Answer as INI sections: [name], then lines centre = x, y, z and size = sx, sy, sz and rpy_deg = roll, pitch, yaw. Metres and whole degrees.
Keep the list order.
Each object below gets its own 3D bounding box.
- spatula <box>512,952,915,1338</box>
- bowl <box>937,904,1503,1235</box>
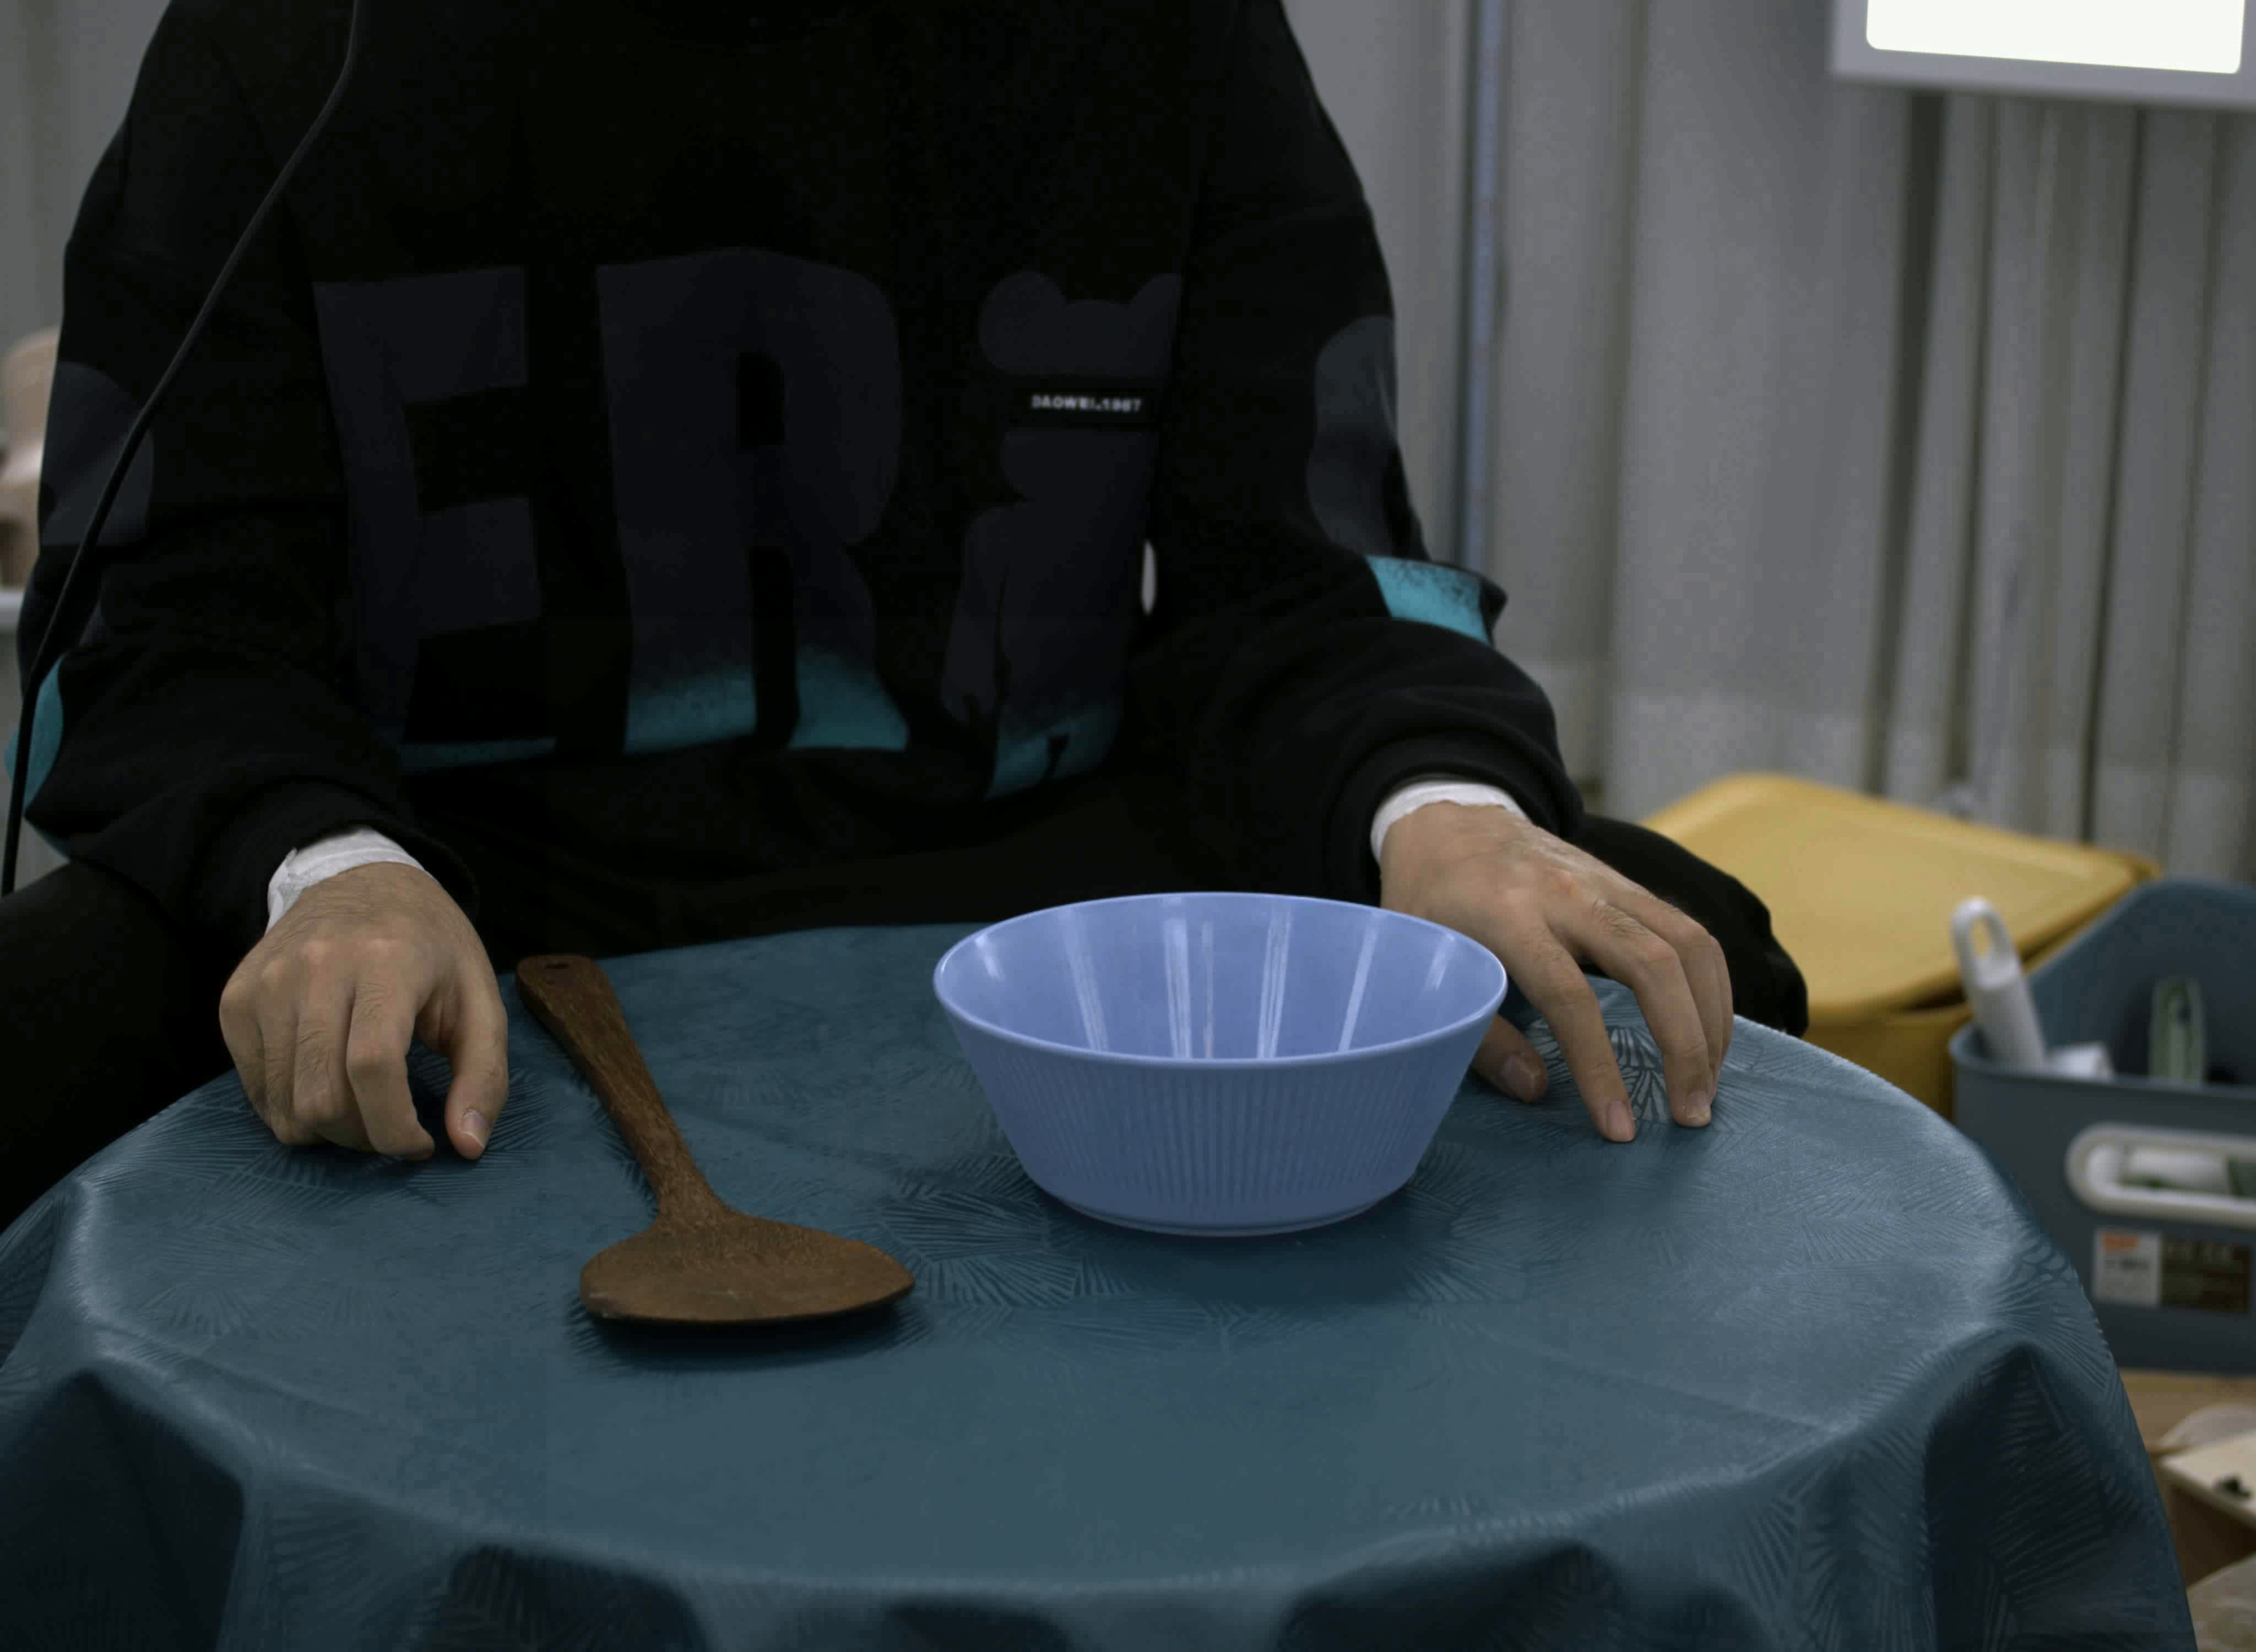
[spatula]
centre = -0.152, 0.094, 1.660
size = 0.096, 0.016, 0.382
rpy_deg = -3, 16, -15
[bowl]
centre = 0.028, 0.077, 1.626
size = 0.175, 0.071, 0.175
rpy_deg = 1, 15, 0
